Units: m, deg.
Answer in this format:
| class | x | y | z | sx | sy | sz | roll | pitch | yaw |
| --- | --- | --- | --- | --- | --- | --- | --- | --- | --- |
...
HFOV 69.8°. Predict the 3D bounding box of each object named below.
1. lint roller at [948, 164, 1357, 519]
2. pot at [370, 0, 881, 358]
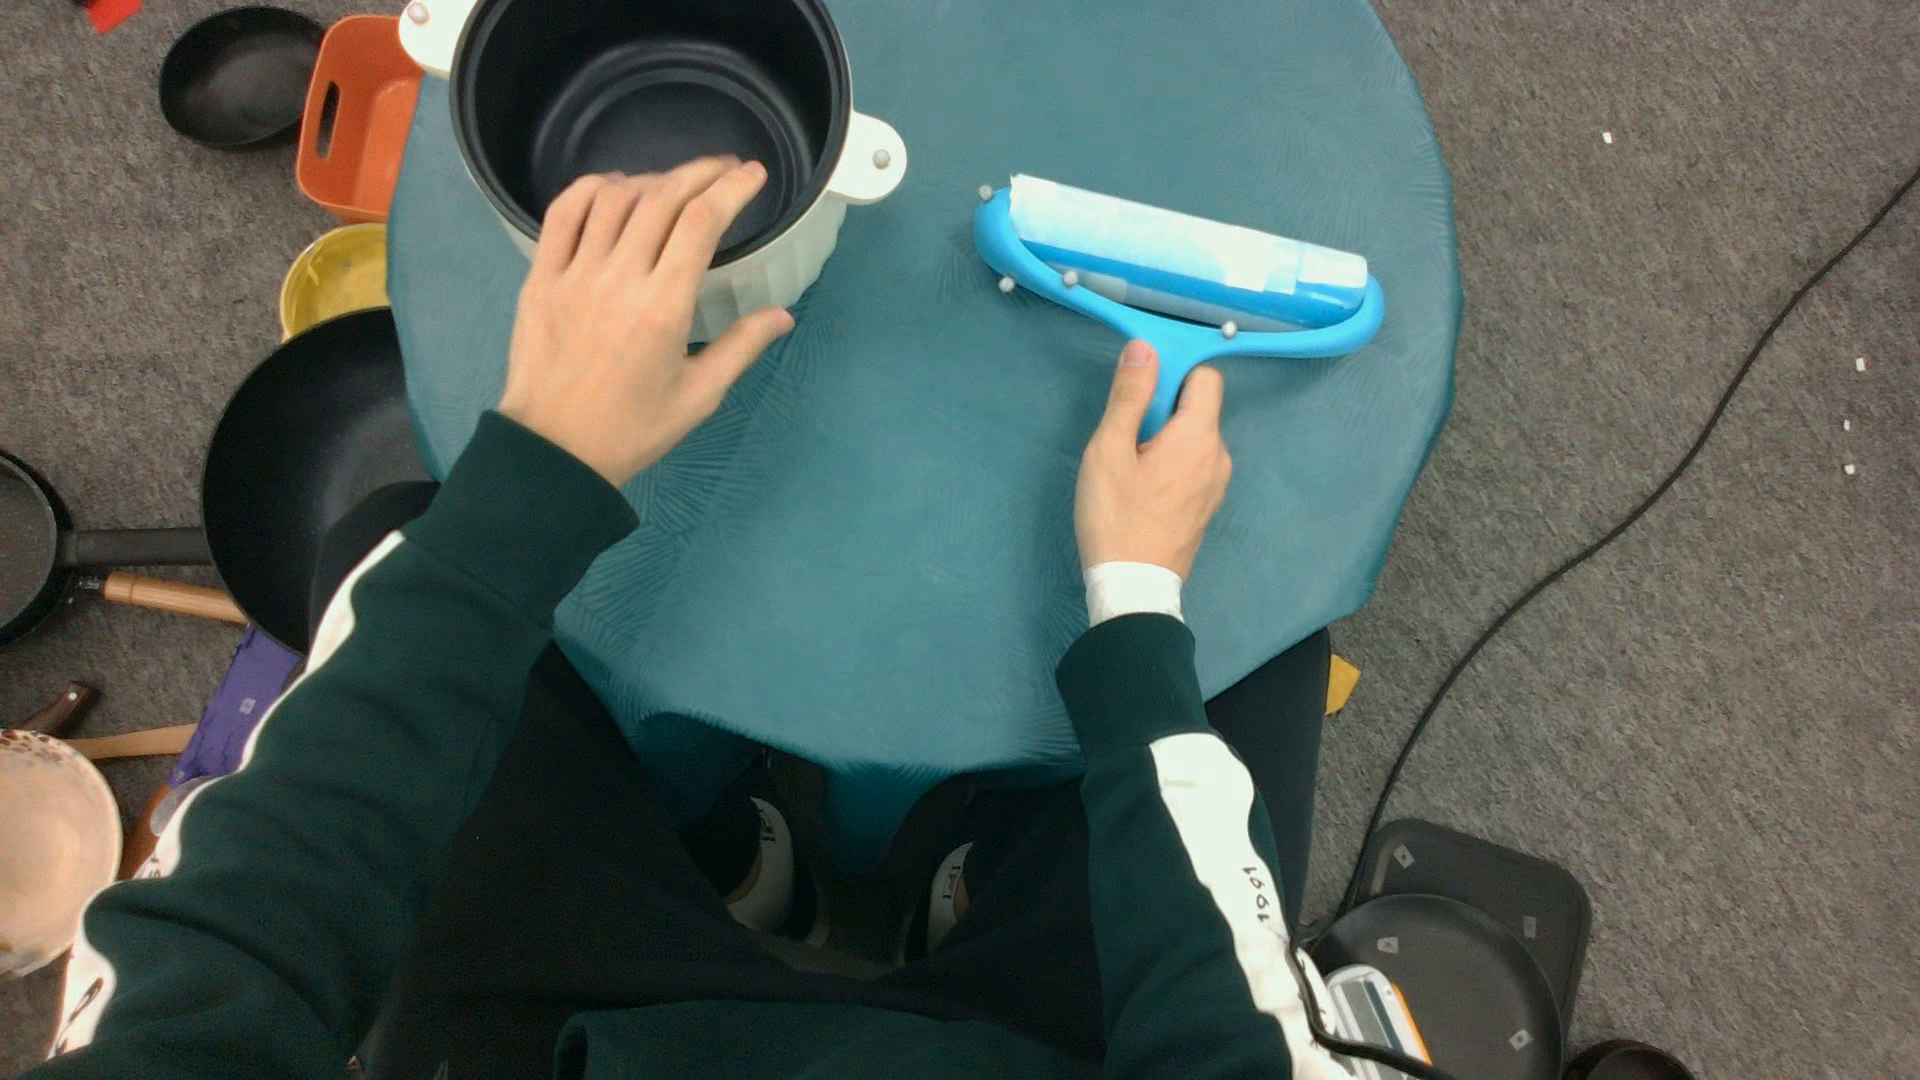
| class | x | y | z | sx | sy | sz | roll | pitch | yaw |
| --- | --- | --- | --- | --- | --- | --- | --- | --- | --- |
| lint roller | 0.098 | -0.103 | 0.743 | 0.229 | 0.068 | 0.180 | 9 | 77 | -5 |
| pot | -0.158 | -0.201 | 0.698 | 0.240 | 0.142 | 0.191 | 15 | 81 | -3 |
